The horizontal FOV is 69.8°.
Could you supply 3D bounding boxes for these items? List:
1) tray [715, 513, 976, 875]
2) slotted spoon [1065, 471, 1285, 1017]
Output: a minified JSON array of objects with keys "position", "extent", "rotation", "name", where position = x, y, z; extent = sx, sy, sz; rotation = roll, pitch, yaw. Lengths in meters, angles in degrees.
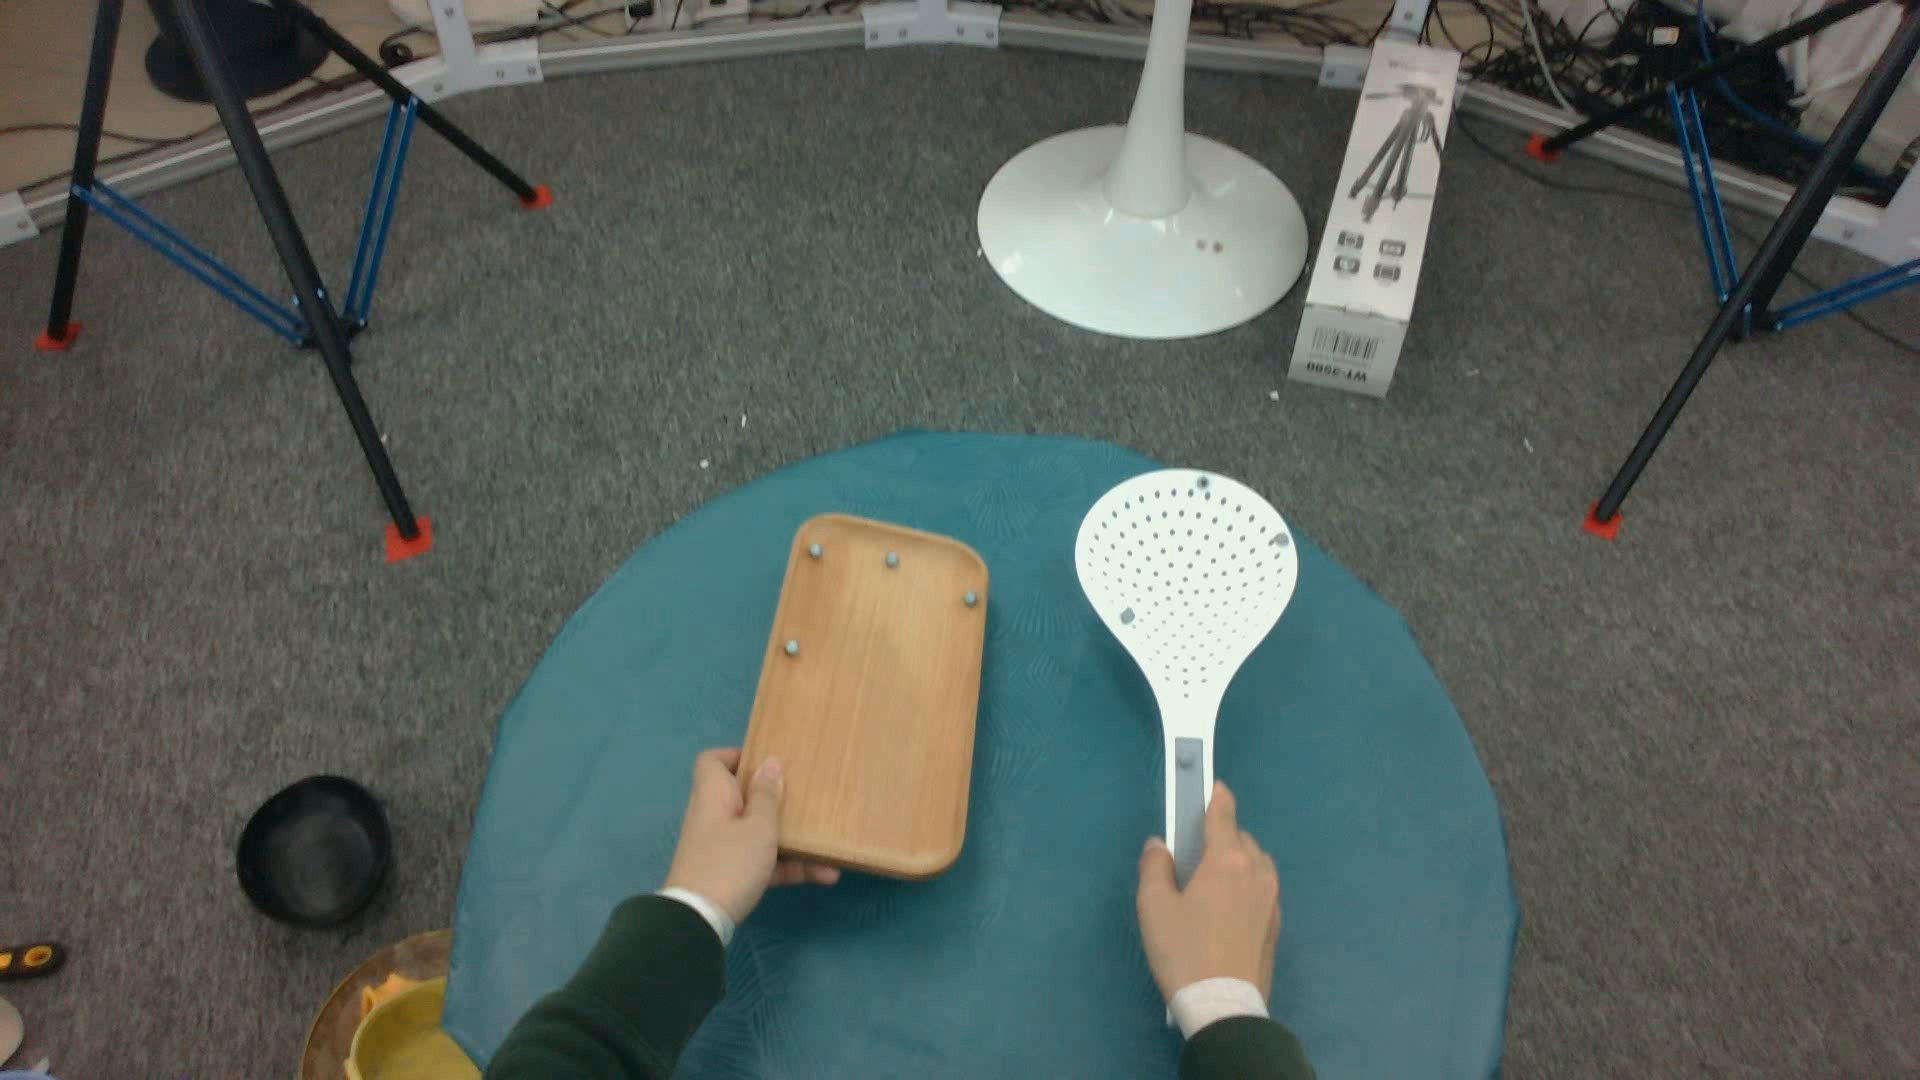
[{"position":[-0.060,0.082,0.808],"extent":[0.130,0.023,0.252],"rotation":[12,44,-4],"name":"tray"},{"position":[0.124,0.099,0.796],"extent":[0.136,0.045,0.351],"rotation":[2,48,6],"name":"slotted spoon"}]
